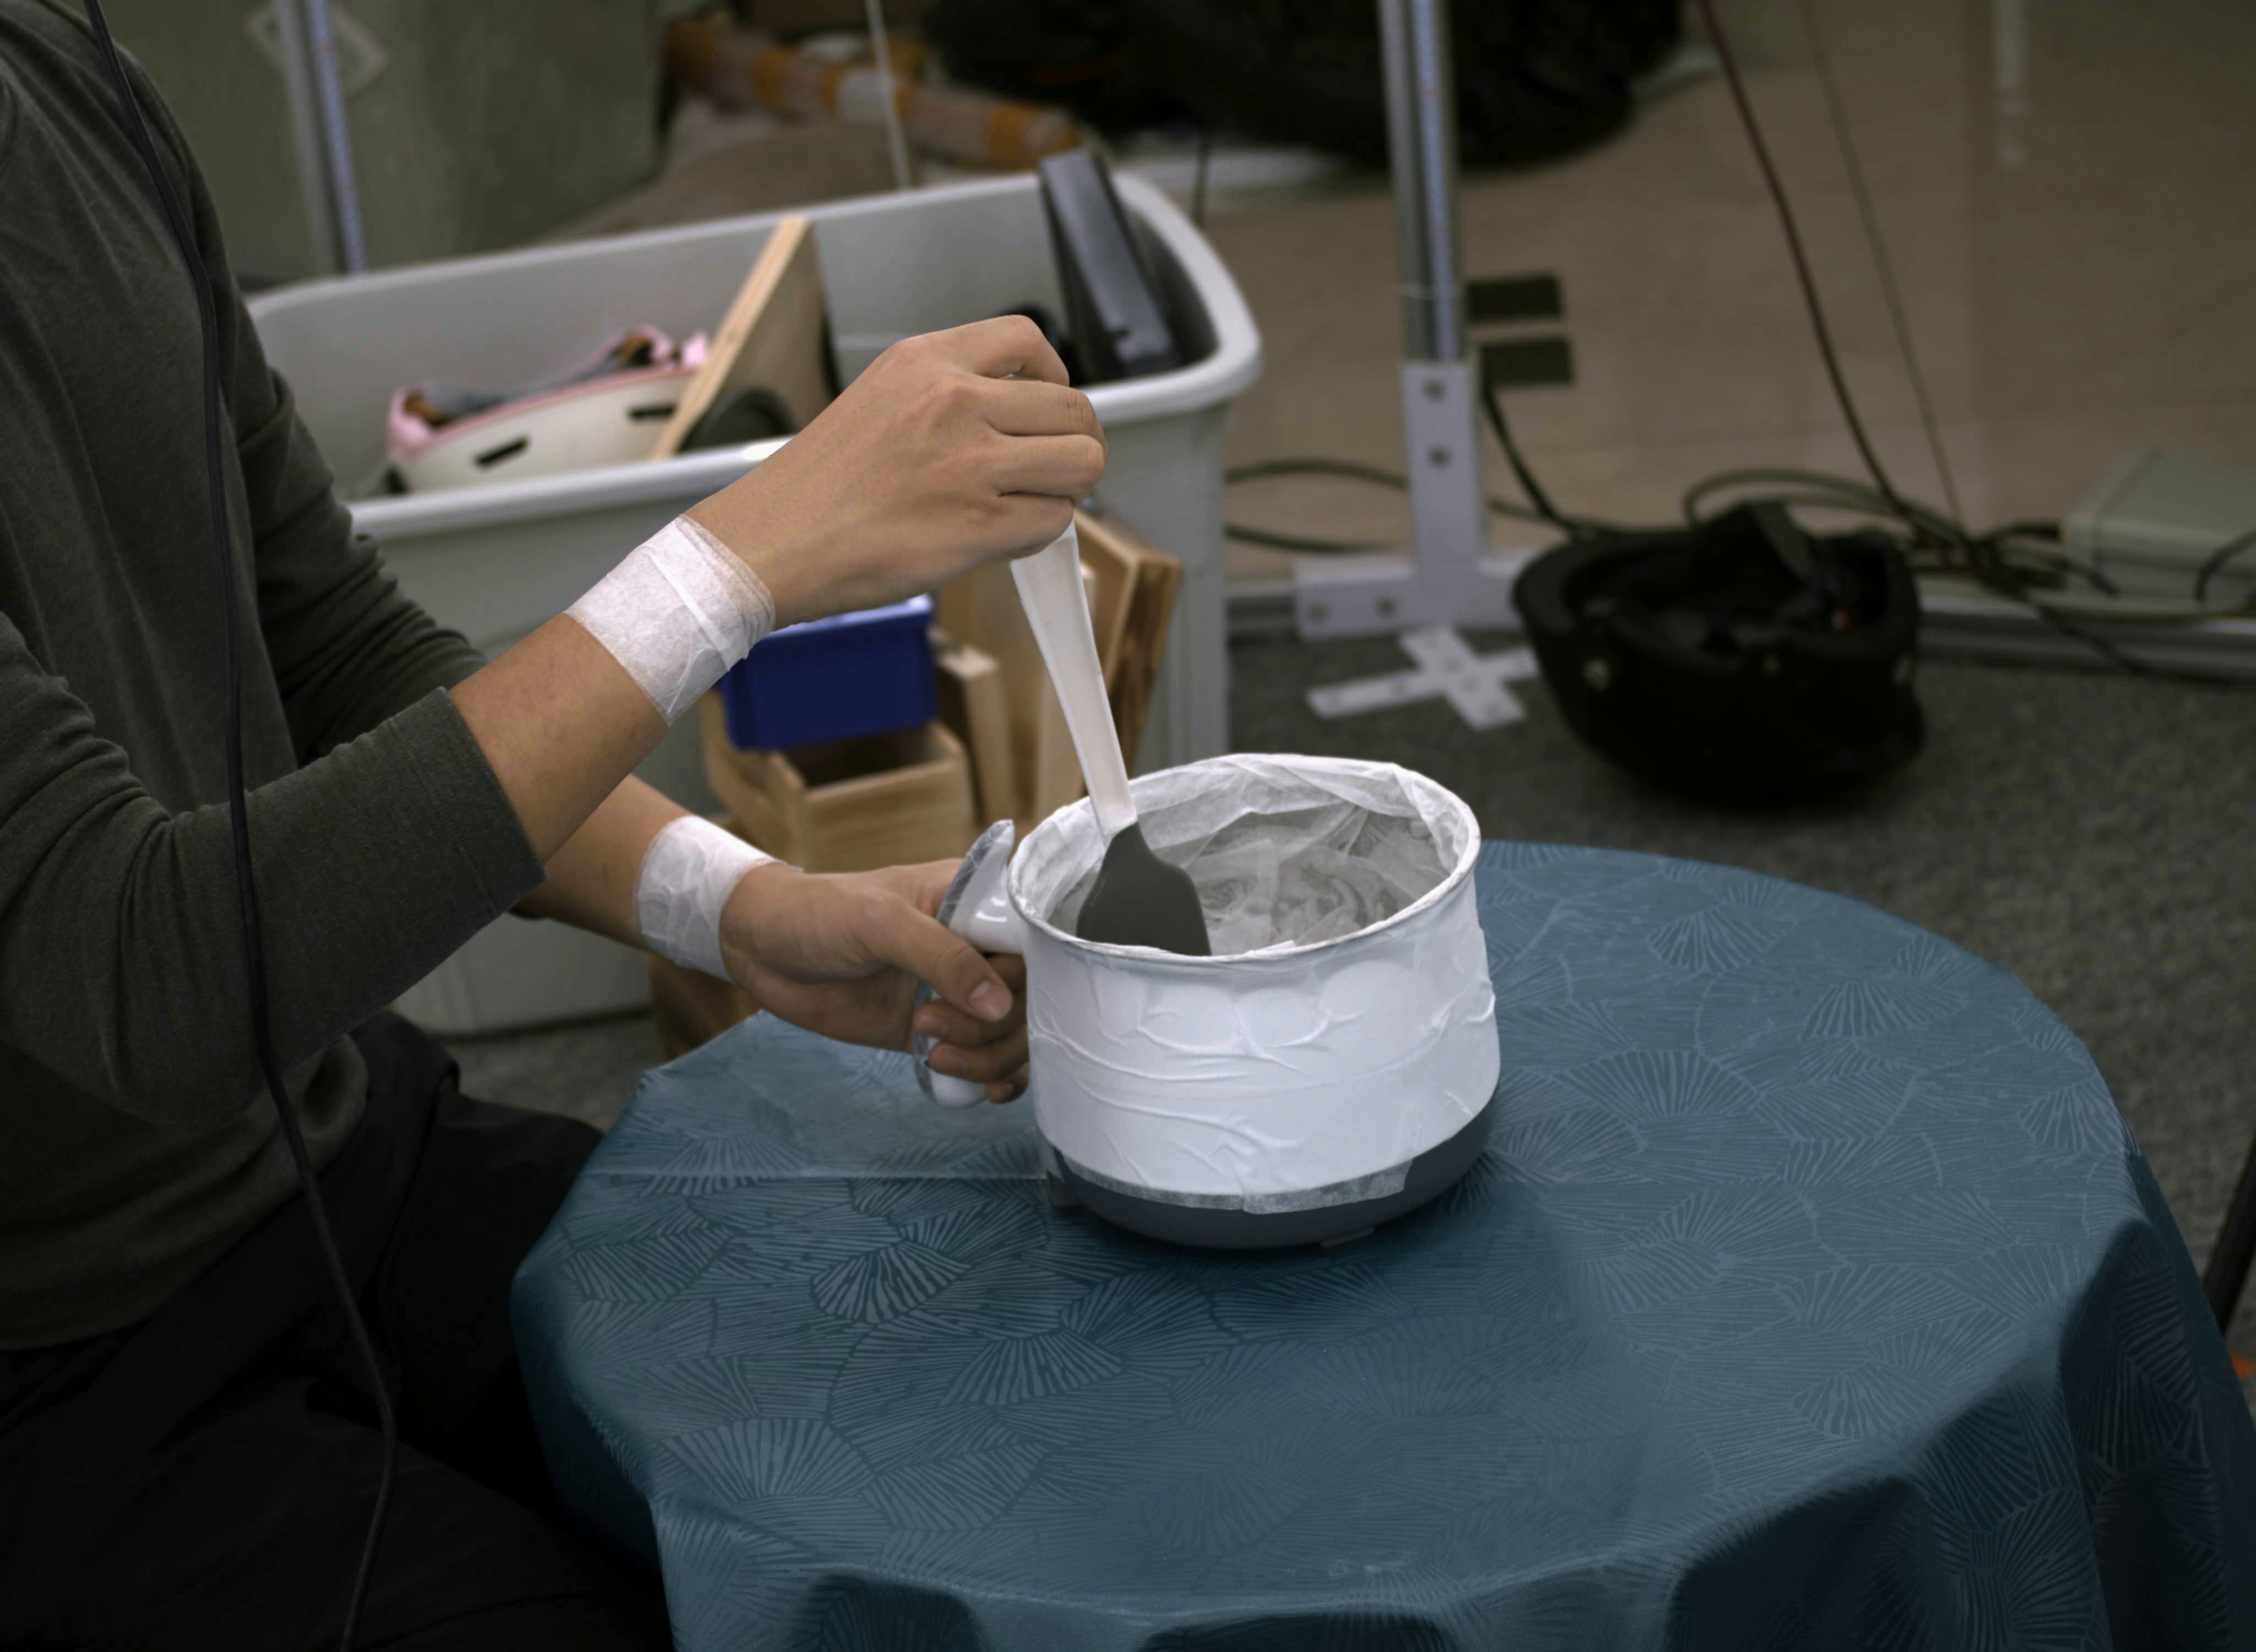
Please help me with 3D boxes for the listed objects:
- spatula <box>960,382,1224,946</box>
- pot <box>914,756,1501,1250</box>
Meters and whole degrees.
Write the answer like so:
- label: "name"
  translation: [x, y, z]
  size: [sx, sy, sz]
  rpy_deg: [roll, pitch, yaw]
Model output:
- label: "spatula"
  translation: [-0.014, -0.036, 2.061]
  size: [0.058, 0.293, 0.032]
  rpy_deg: [-24, 39, -10]
- label: "pot"
  translation: [0.024, 0.066, 2.139]
  size: [0.233, 0.139, 0.176]
  rpy_deg: [4, 27, 22]
